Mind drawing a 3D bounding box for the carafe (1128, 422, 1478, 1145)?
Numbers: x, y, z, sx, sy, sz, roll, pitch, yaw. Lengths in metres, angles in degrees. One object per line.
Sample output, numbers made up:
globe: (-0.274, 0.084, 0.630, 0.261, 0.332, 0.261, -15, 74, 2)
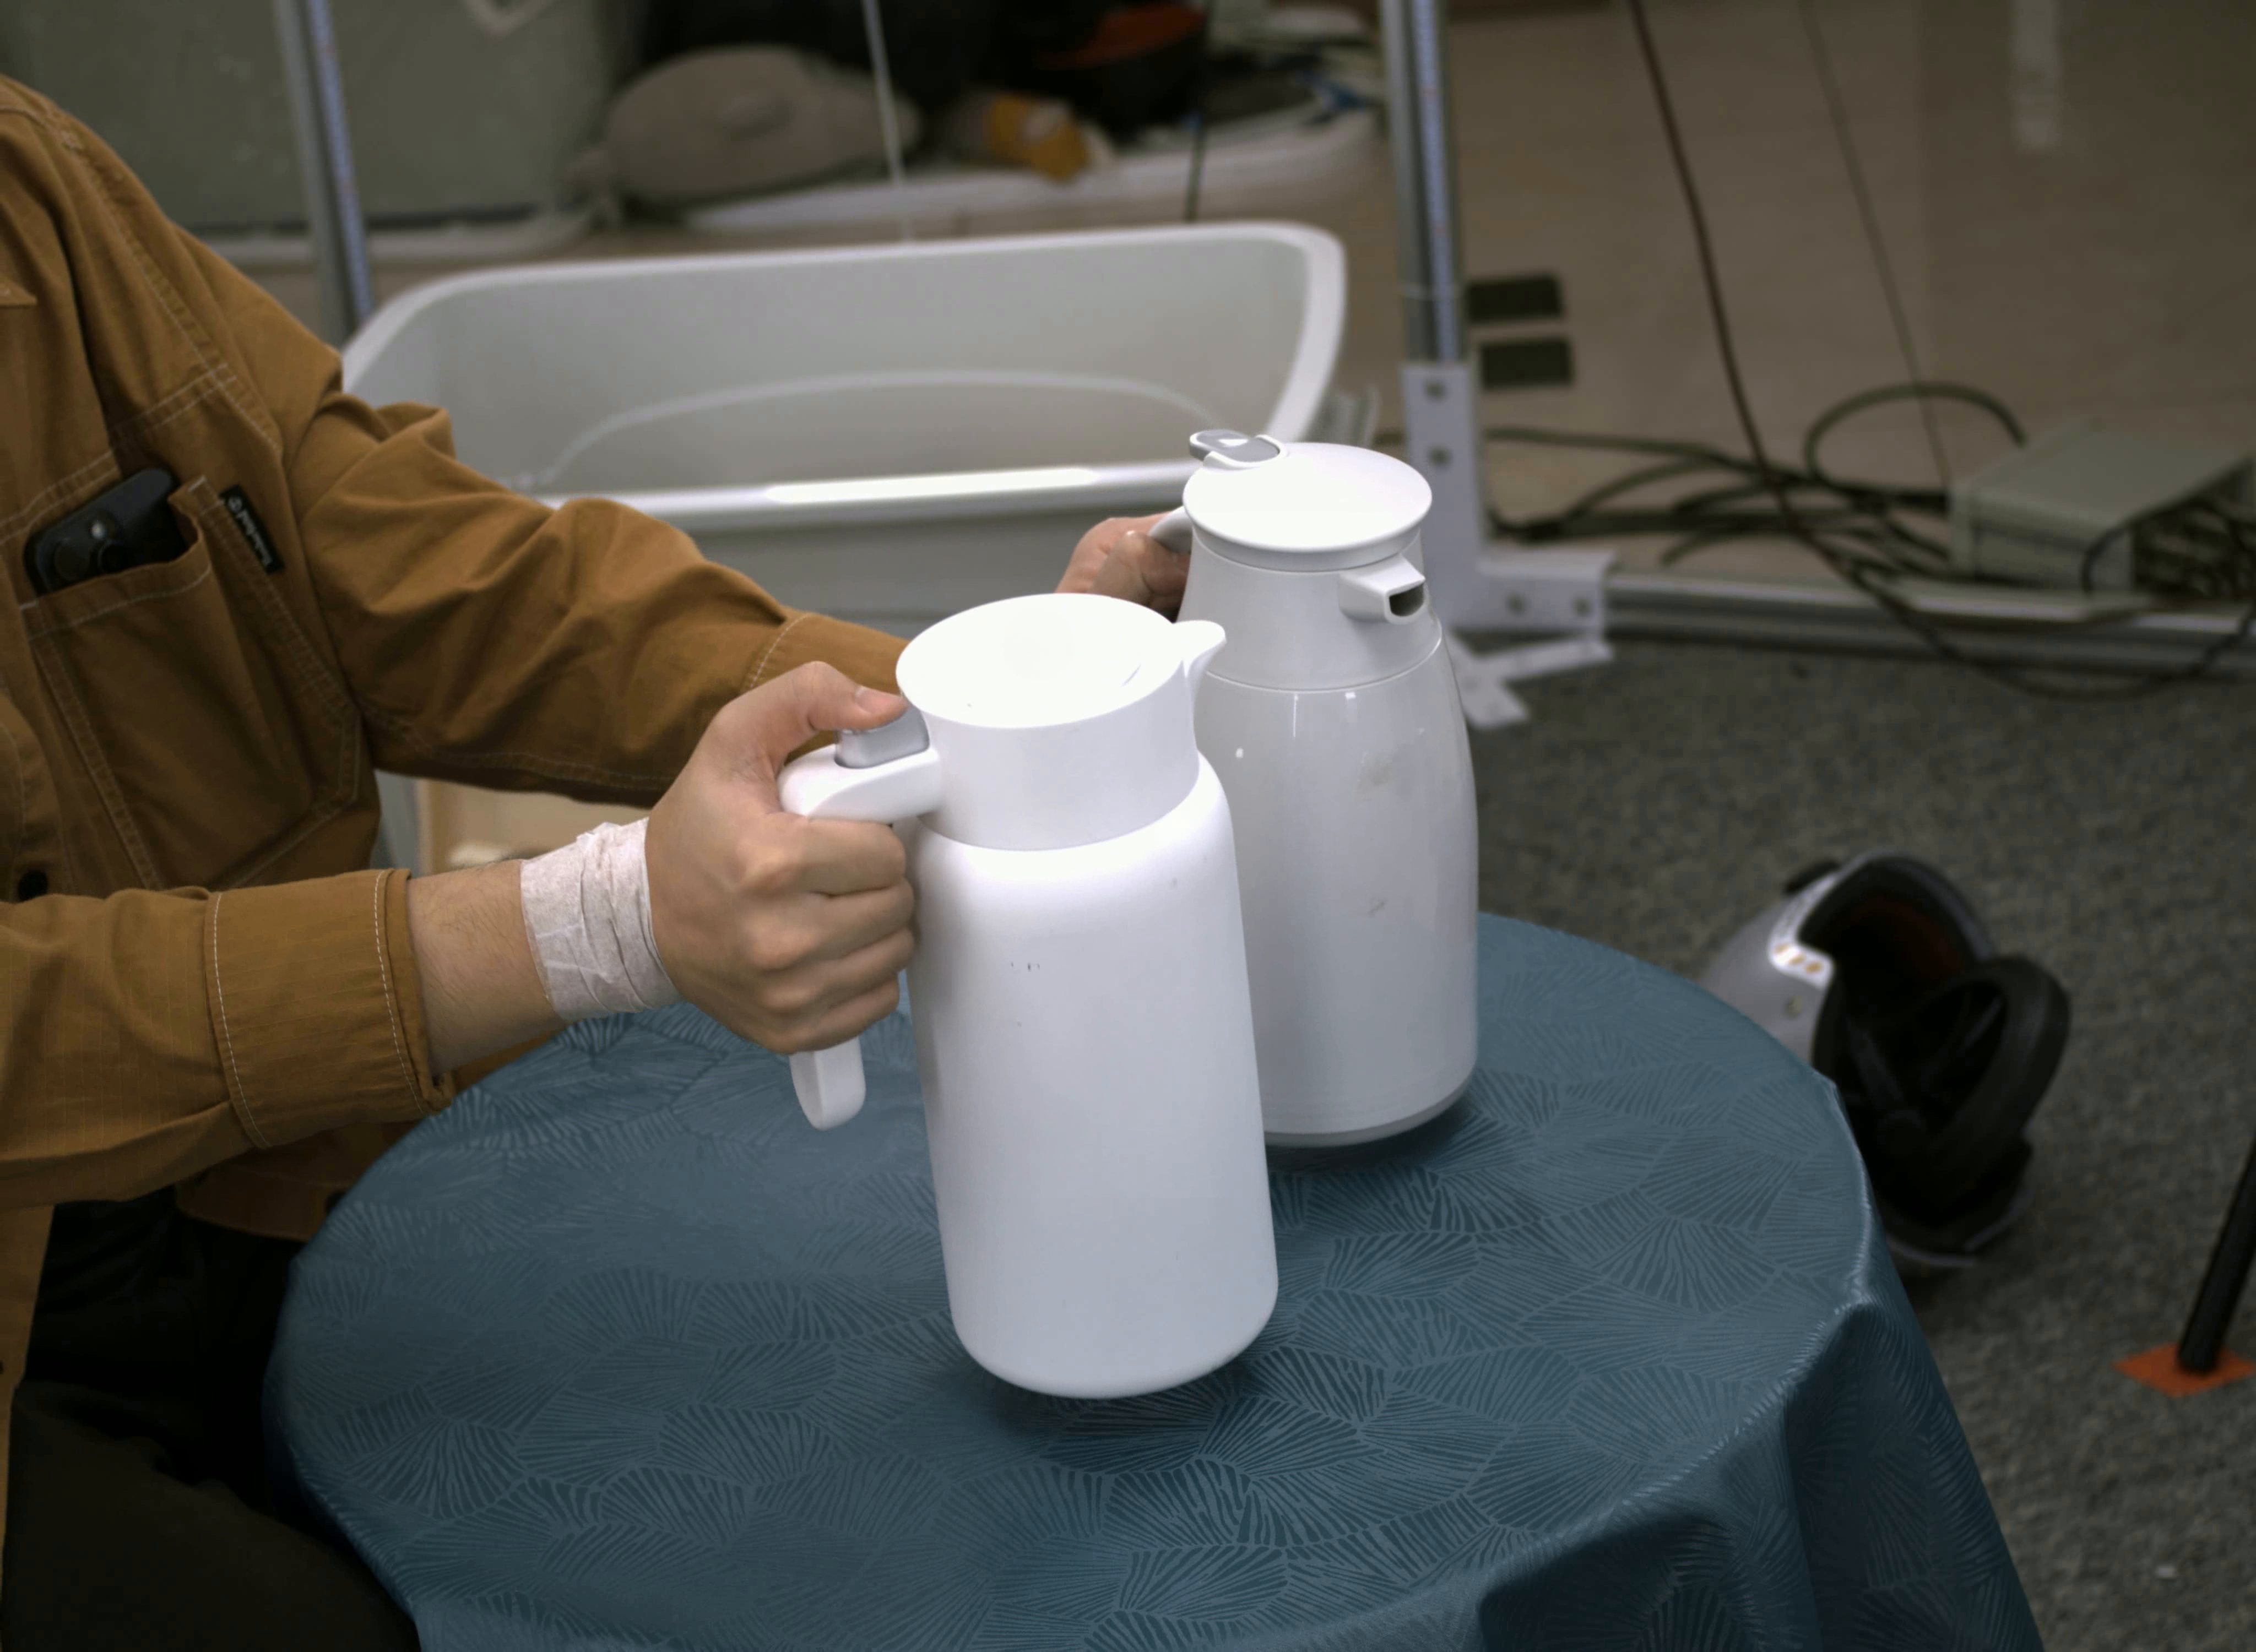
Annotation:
carafe: (0.055, -0.026, 2.133, 0.132, 0.253, 0.166, -20, 33, -30)

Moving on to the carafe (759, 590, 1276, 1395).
carafe: (-0.032, 0.063, 1.950, 0.172, 0.274, 0.122, -19, 34, -21)
